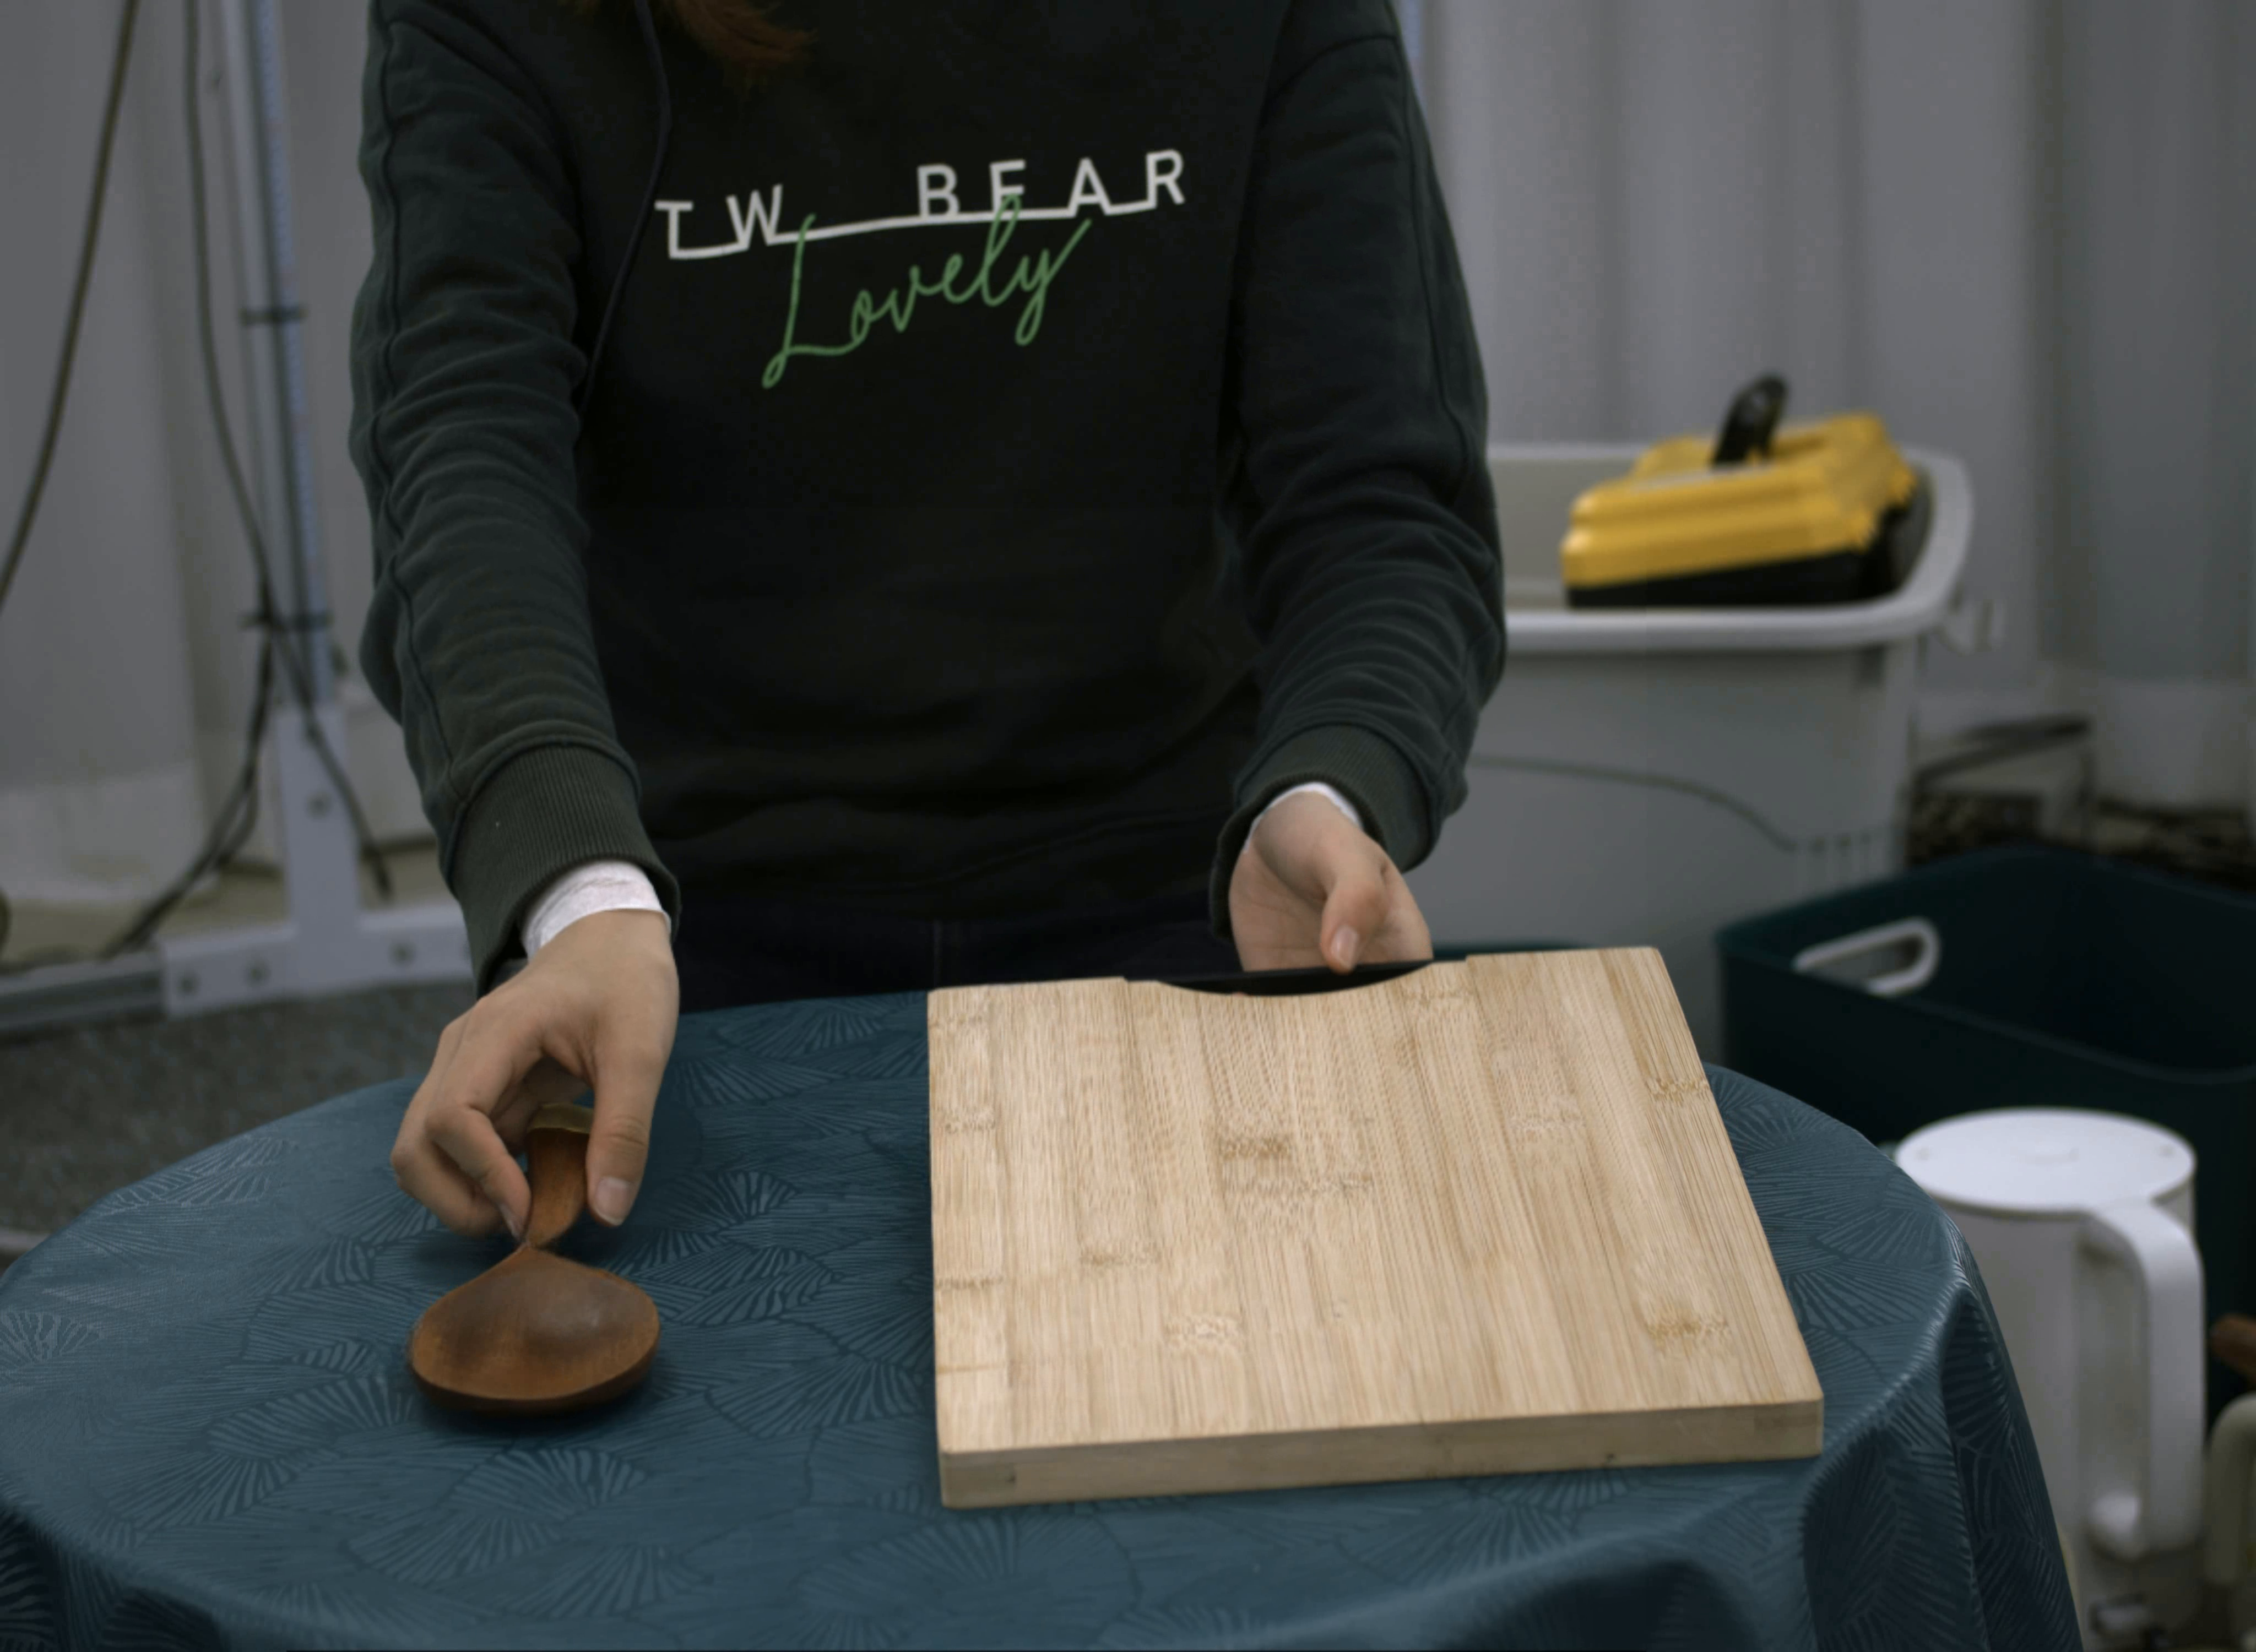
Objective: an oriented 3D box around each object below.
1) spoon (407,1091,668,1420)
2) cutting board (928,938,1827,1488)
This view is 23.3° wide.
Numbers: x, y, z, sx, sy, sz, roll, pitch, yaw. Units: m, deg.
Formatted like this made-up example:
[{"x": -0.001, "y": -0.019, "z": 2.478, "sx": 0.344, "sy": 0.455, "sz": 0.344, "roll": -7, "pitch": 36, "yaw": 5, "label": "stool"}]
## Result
[{"x": -0.172, "y": 0.129, "z": 1.631, "sx": 0.075, "sy": 0.017, "sz": 0.218, "roll": -5, "pitch": 21, "yaw": -1, "label": "spoon"}, {"x": 0.062, "y": 0.110, "z": 1.631, "sx": 0.250, "sy": 0.023, "sz": 0.352, "roll": -3, "pitch": 20, "yaw": -2, "label": "cutting board"}]
